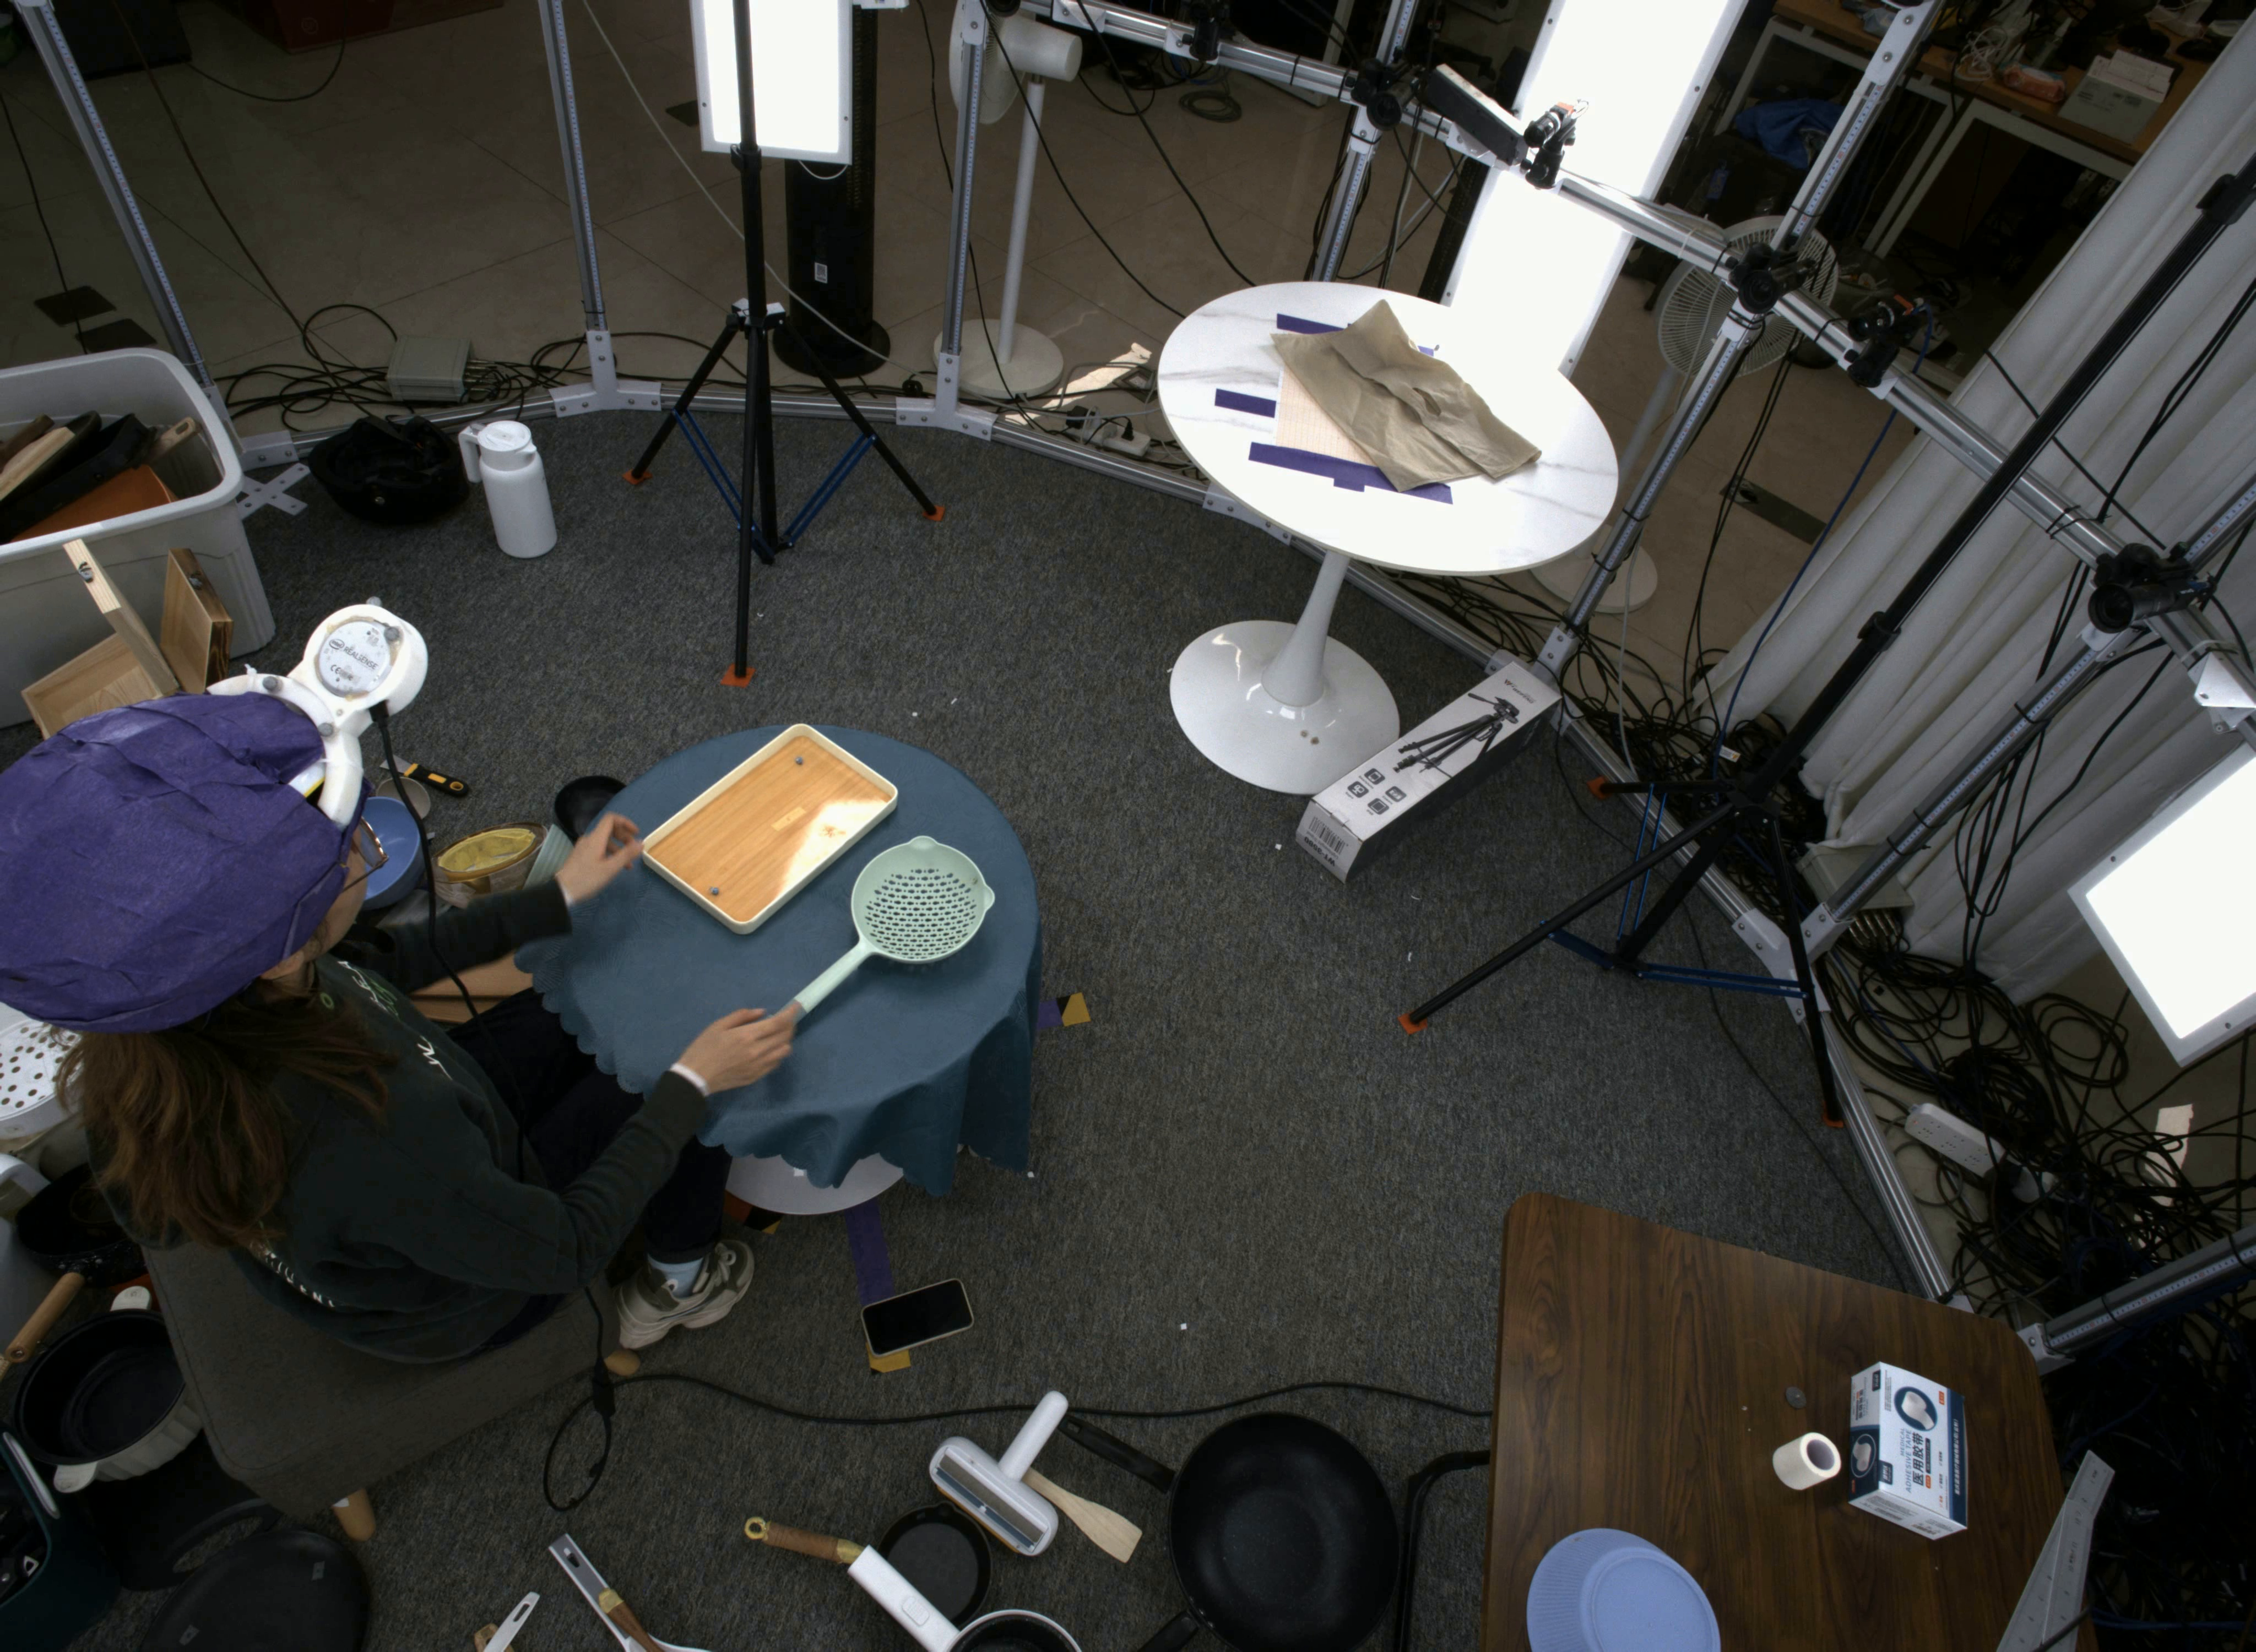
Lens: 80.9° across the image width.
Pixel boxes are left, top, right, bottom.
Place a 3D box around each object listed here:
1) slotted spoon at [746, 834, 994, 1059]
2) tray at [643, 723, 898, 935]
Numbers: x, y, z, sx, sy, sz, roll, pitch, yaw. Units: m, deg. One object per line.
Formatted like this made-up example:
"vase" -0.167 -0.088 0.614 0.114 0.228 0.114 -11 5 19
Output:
"slotted spoon" -0.326 0.154 1.597 0.165 0.077 0.359 39 54 17
"tray" -0.467 -0.004 1.705 0.188 0.028 0.300 35 53 12
